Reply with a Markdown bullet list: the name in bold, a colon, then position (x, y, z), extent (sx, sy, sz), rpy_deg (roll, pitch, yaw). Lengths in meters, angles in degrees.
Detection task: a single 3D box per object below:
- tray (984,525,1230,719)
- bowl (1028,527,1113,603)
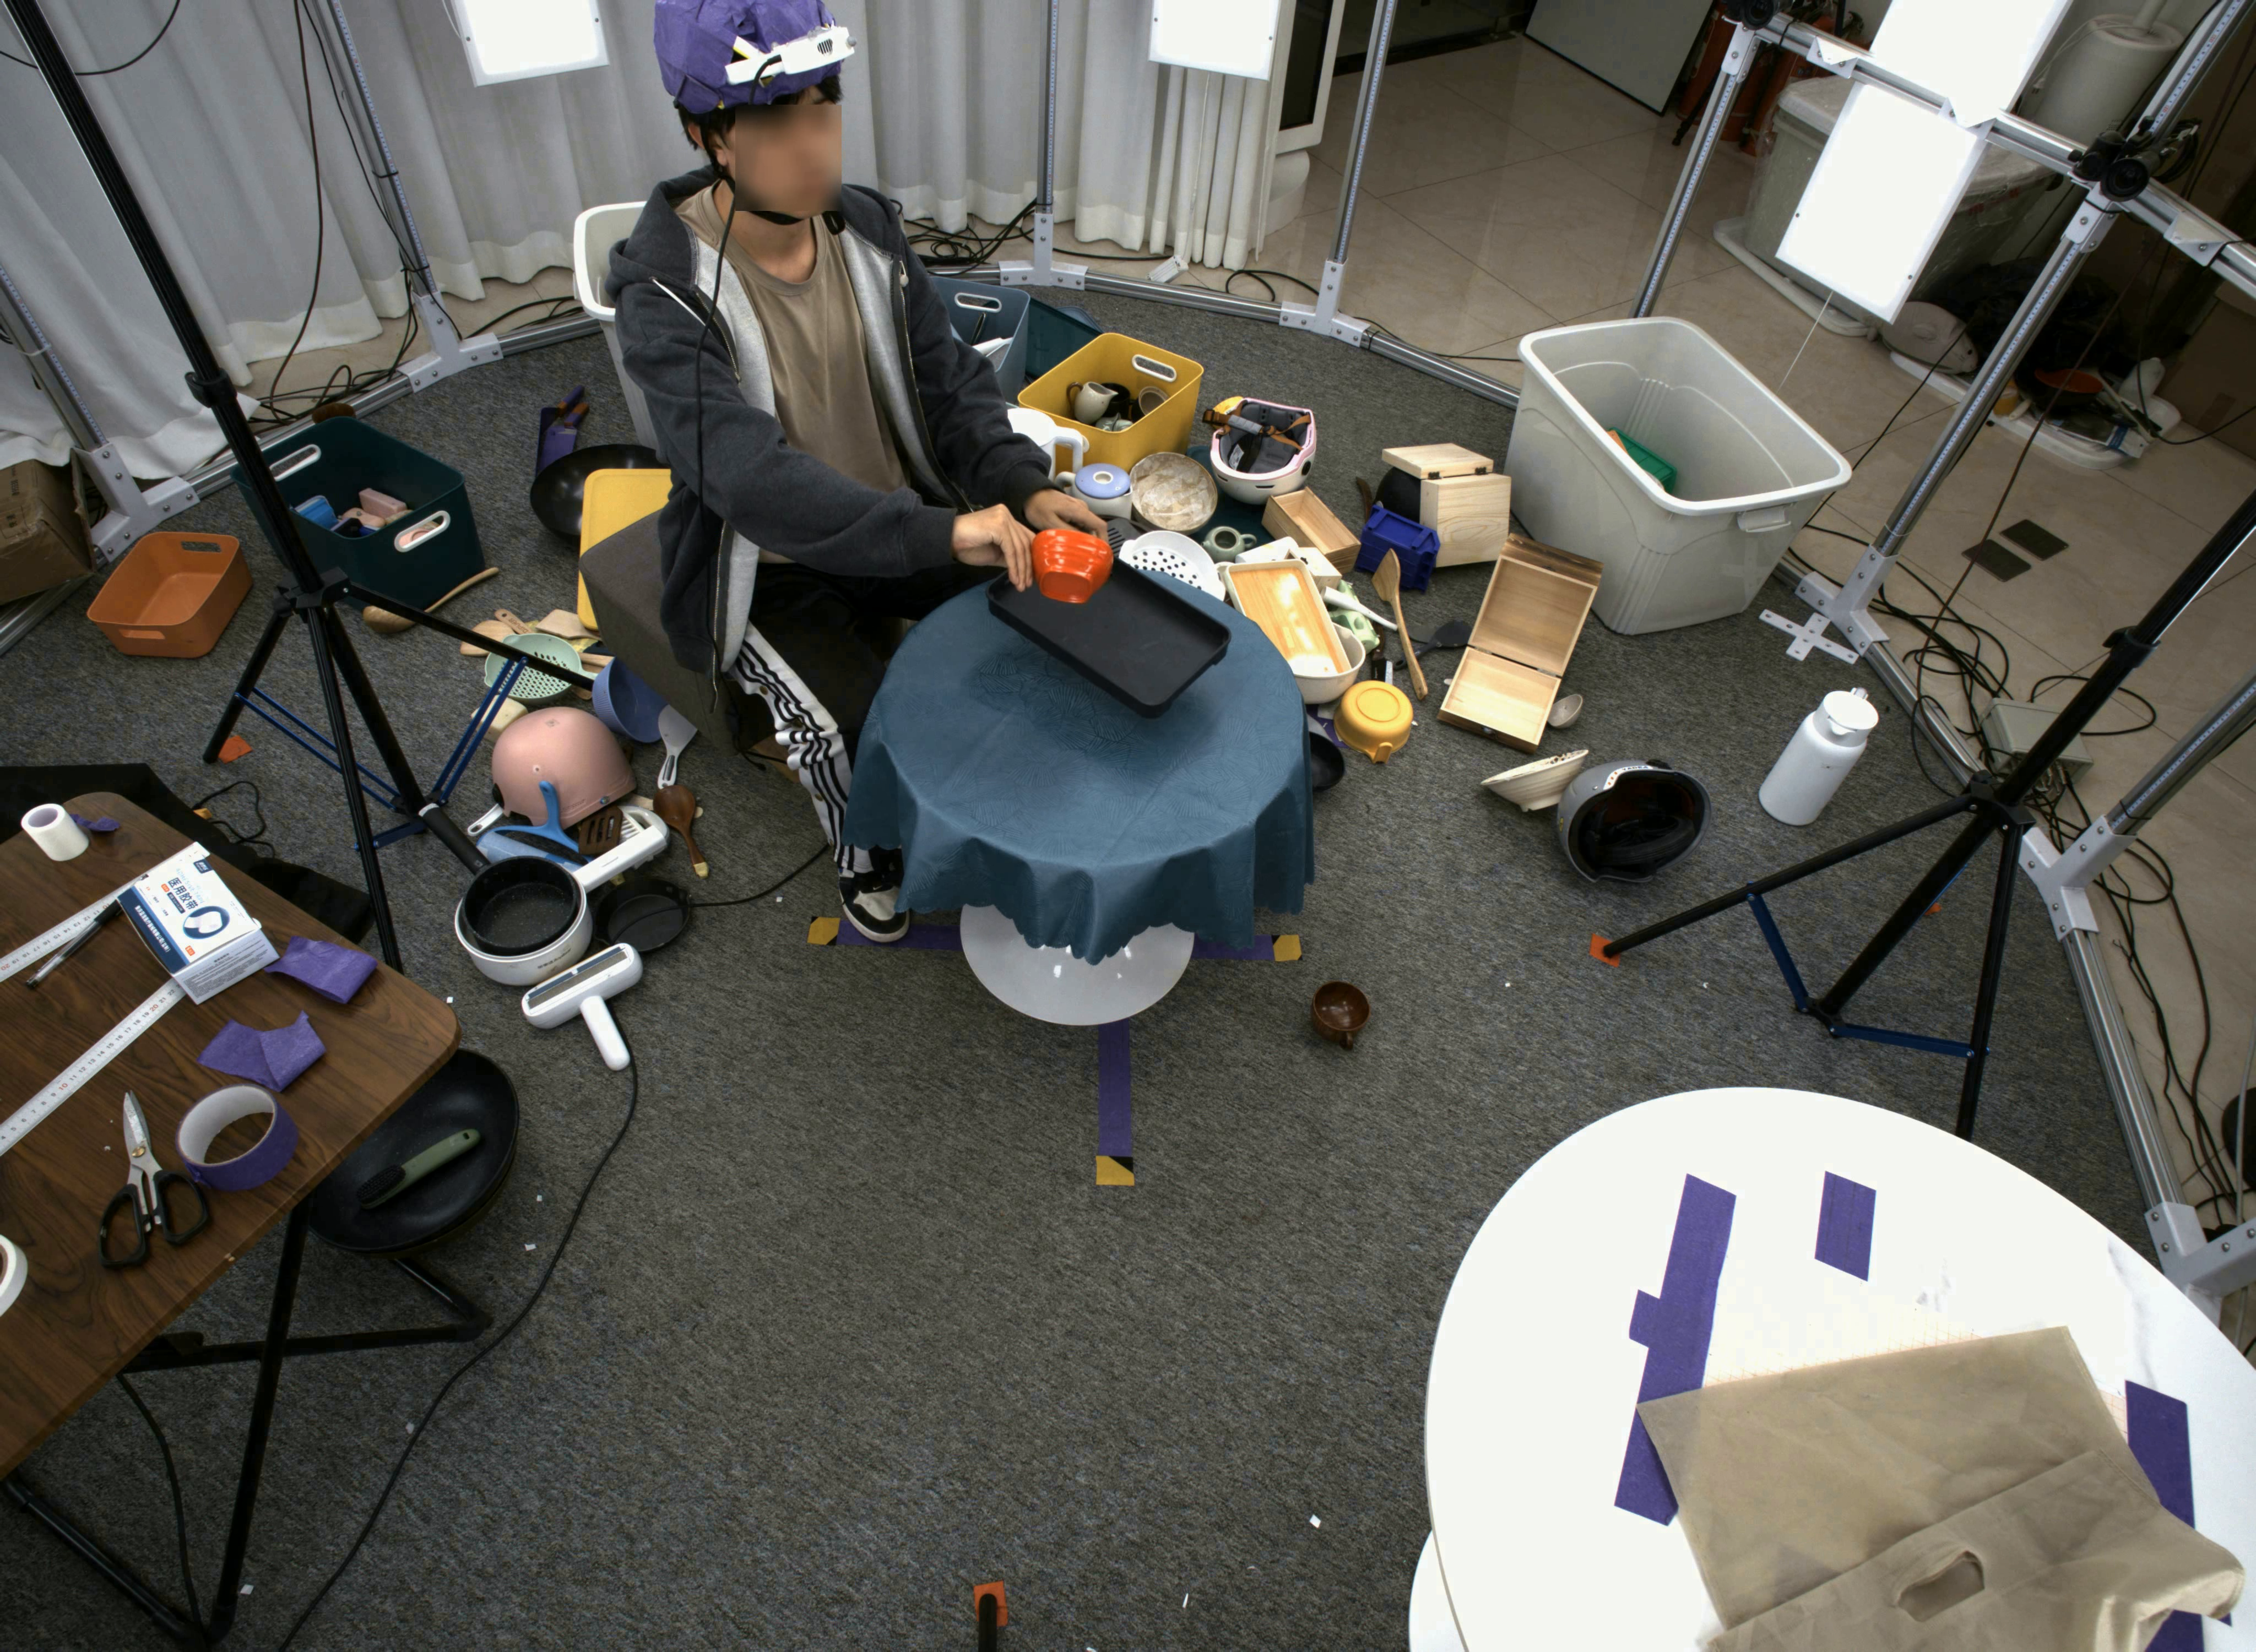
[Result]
- **tray**: position (-0.031, -0.289, 1.793), extent (0.321, 0.036, 0.186), rpy_deg (36, 61, 19)
- **bowl**: position (-0.077, -0.328, 1.649), extent (0.119, 0.117, 0.052), rpy_deg (9, 66, 2)
